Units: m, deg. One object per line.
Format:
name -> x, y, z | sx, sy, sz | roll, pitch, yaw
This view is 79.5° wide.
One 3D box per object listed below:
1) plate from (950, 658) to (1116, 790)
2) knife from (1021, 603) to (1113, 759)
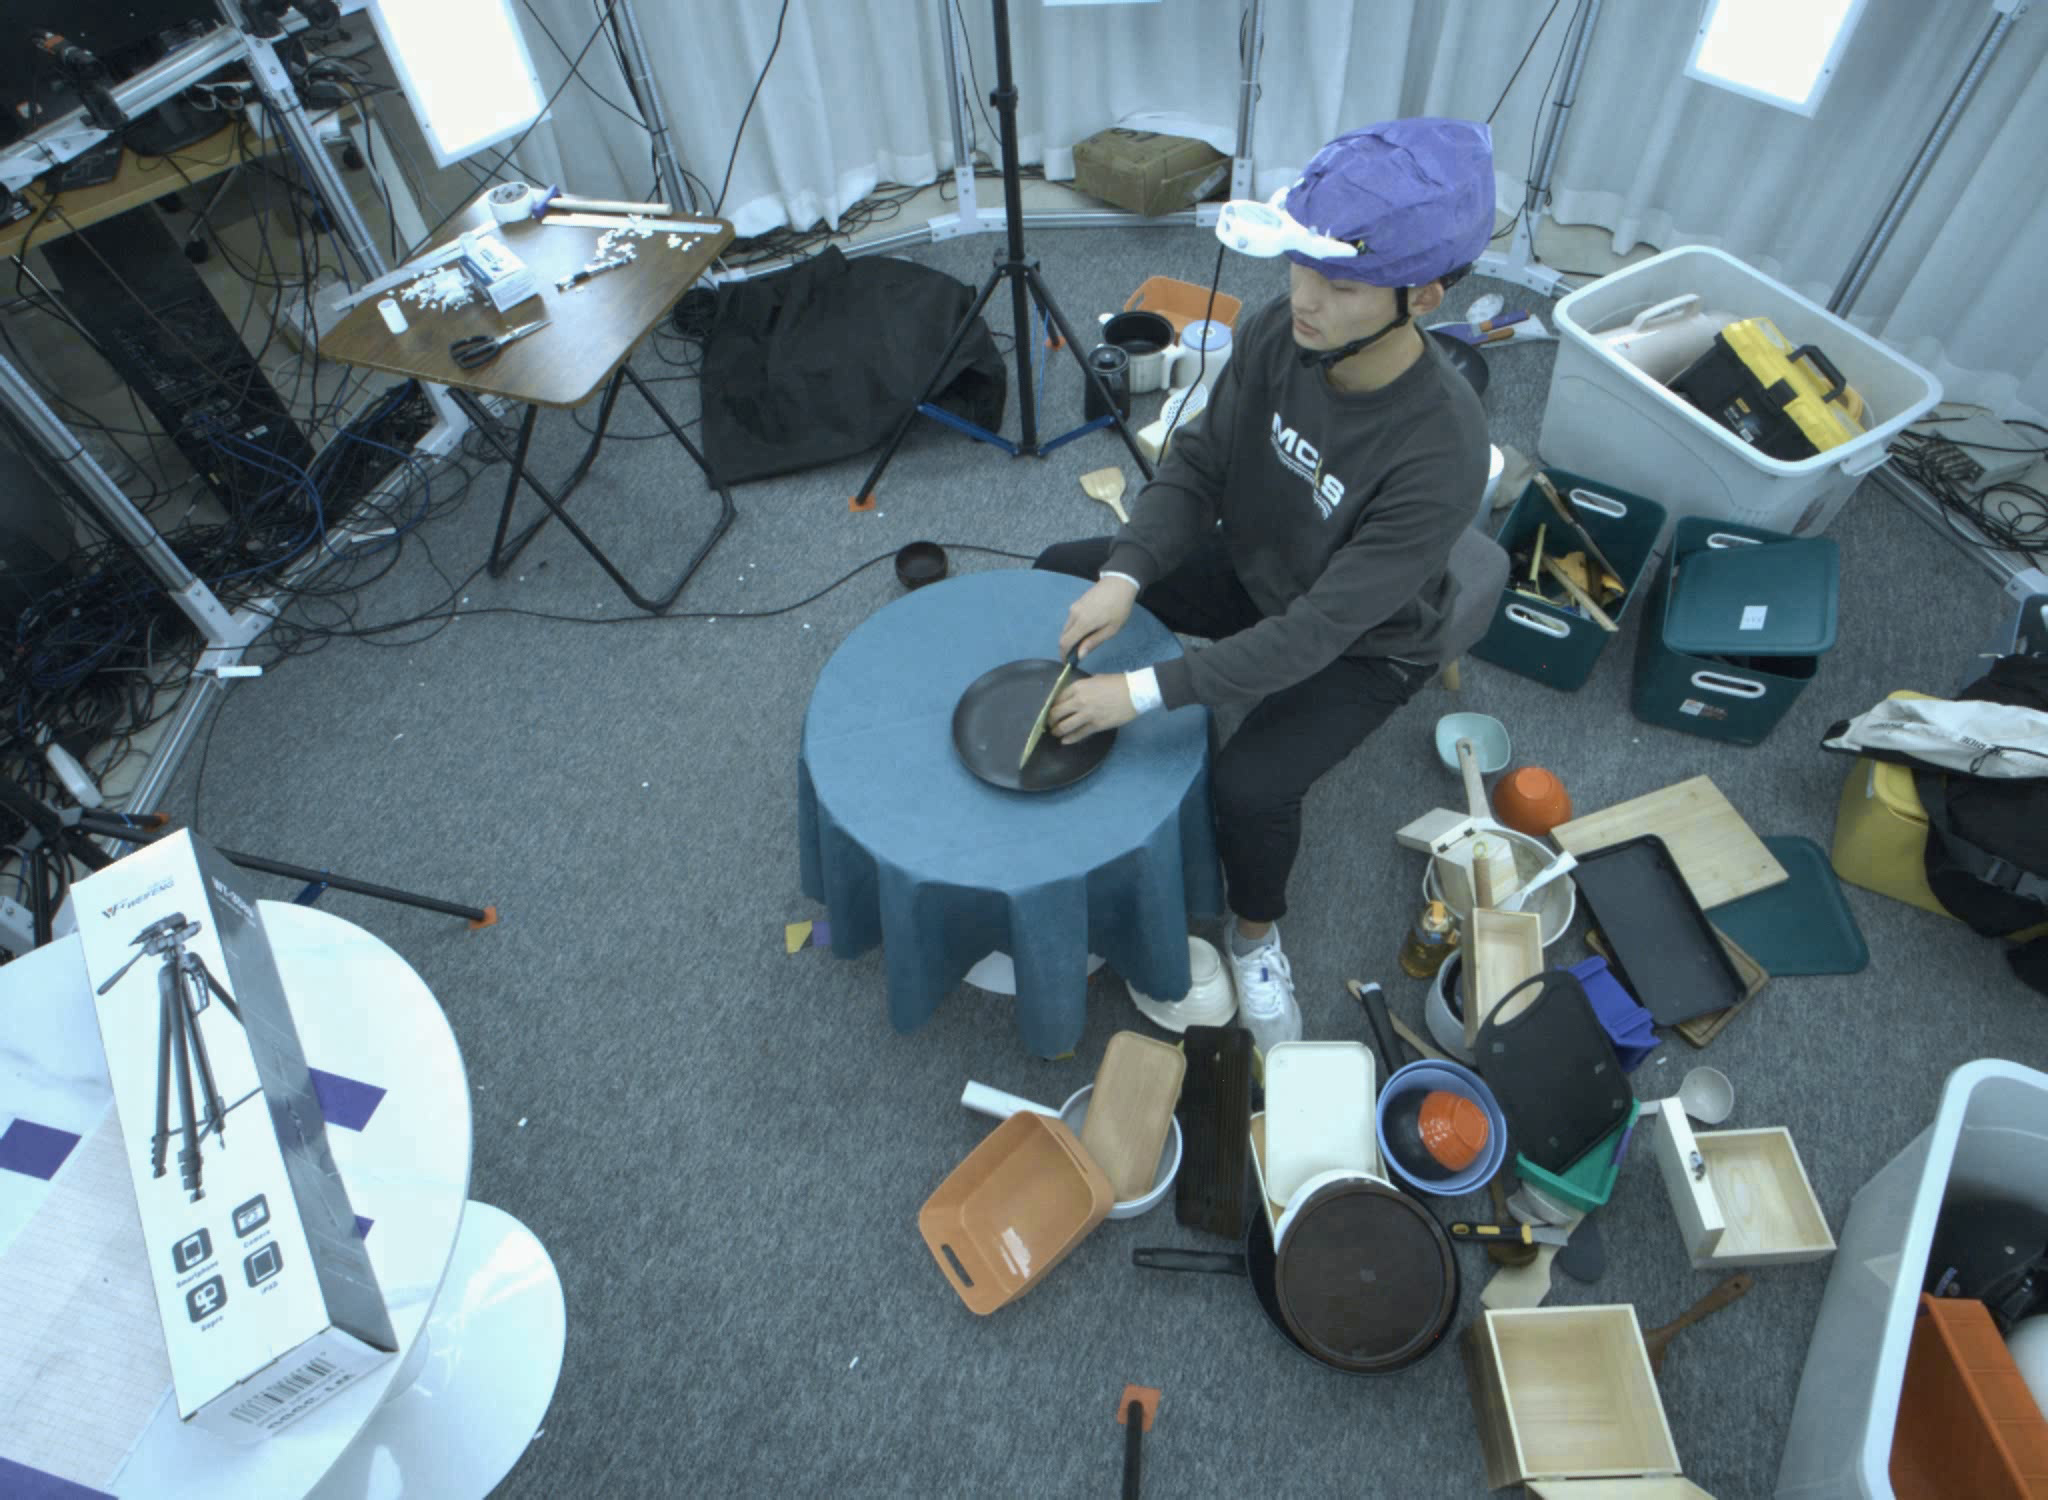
plate -> 0.014, -0.036, 1.806 | 0.244, 0.023, 0.242 | 0, 55, 1
knife -> 0.061, -0.102, 1.804 | 0.027, 0.081, 0.290 | 26, 64, 8
